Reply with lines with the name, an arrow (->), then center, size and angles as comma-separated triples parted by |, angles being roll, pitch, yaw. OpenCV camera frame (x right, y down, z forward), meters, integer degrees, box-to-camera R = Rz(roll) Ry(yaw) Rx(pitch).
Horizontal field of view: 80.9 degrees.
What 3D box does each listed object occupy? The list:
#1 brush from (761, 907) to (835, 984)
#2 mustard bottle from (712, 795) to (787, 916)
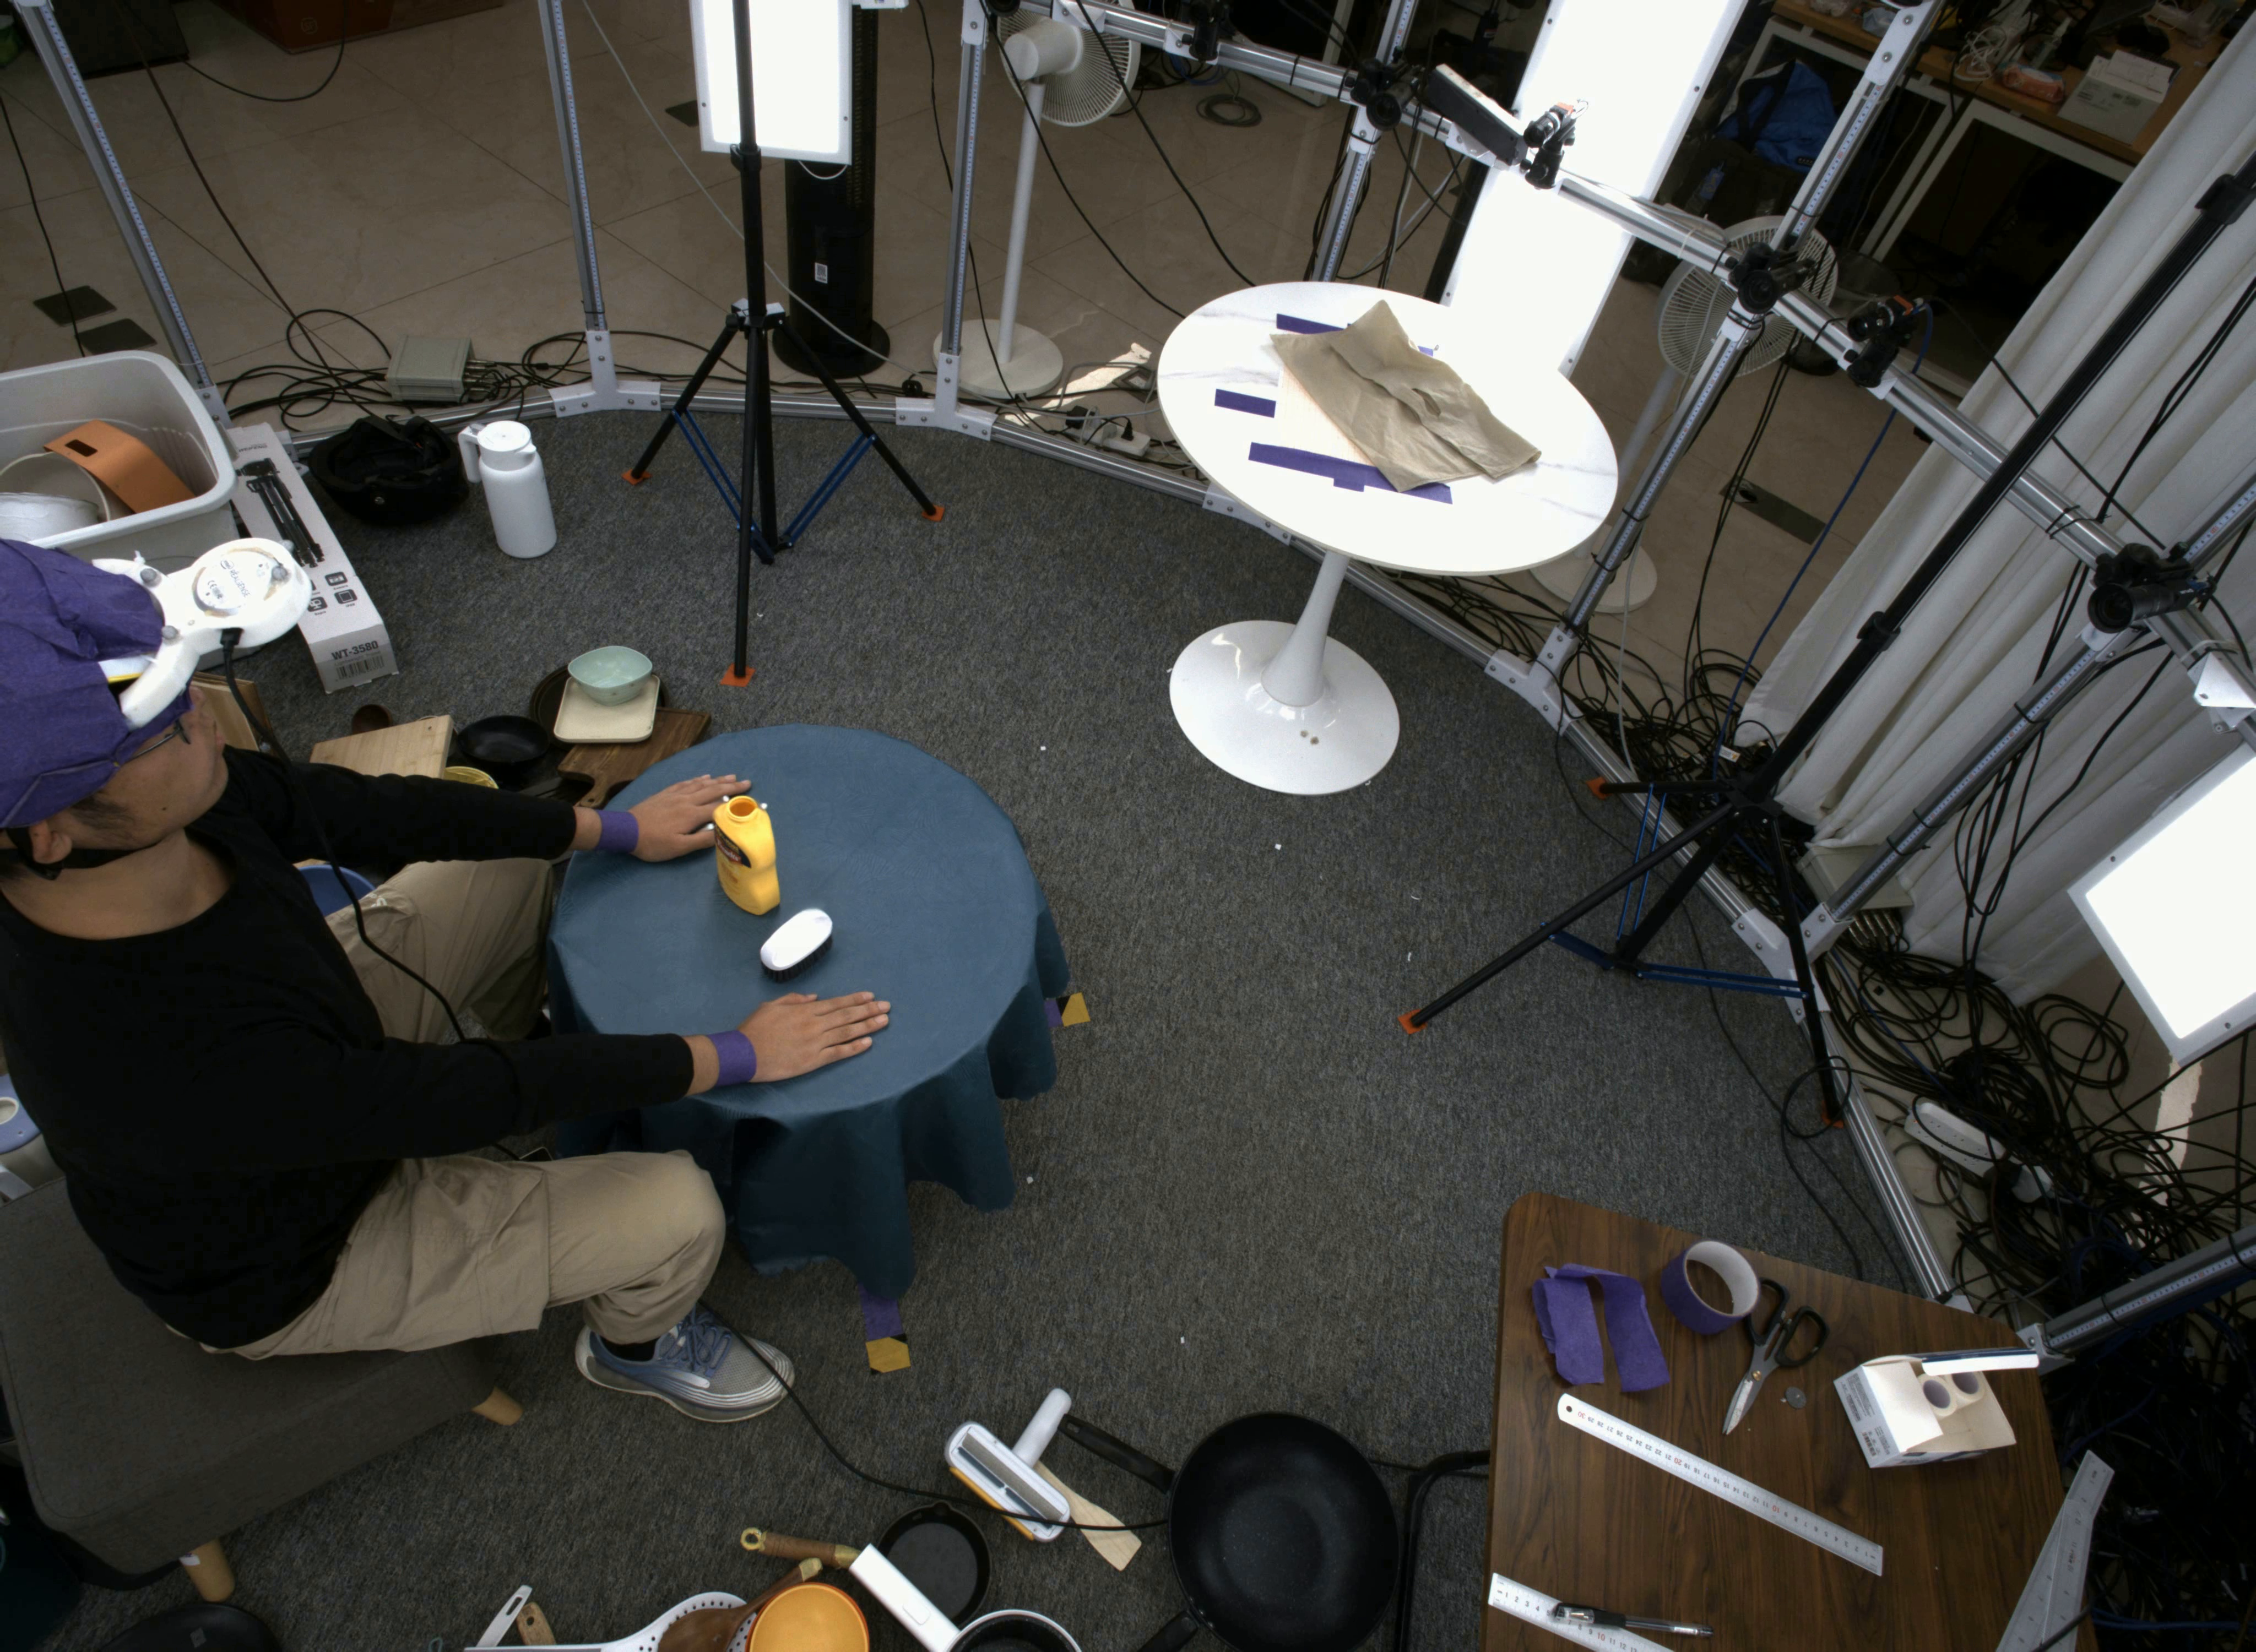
brush -> -0.404, 0.136, 1.584 | 0.049, 0.074, 0.099 | 38, 53, 19
mustard bottle -> -0.467, 0.028, 1.589 | 0.096, 0.175, 0.059 | 37, 58, 16
